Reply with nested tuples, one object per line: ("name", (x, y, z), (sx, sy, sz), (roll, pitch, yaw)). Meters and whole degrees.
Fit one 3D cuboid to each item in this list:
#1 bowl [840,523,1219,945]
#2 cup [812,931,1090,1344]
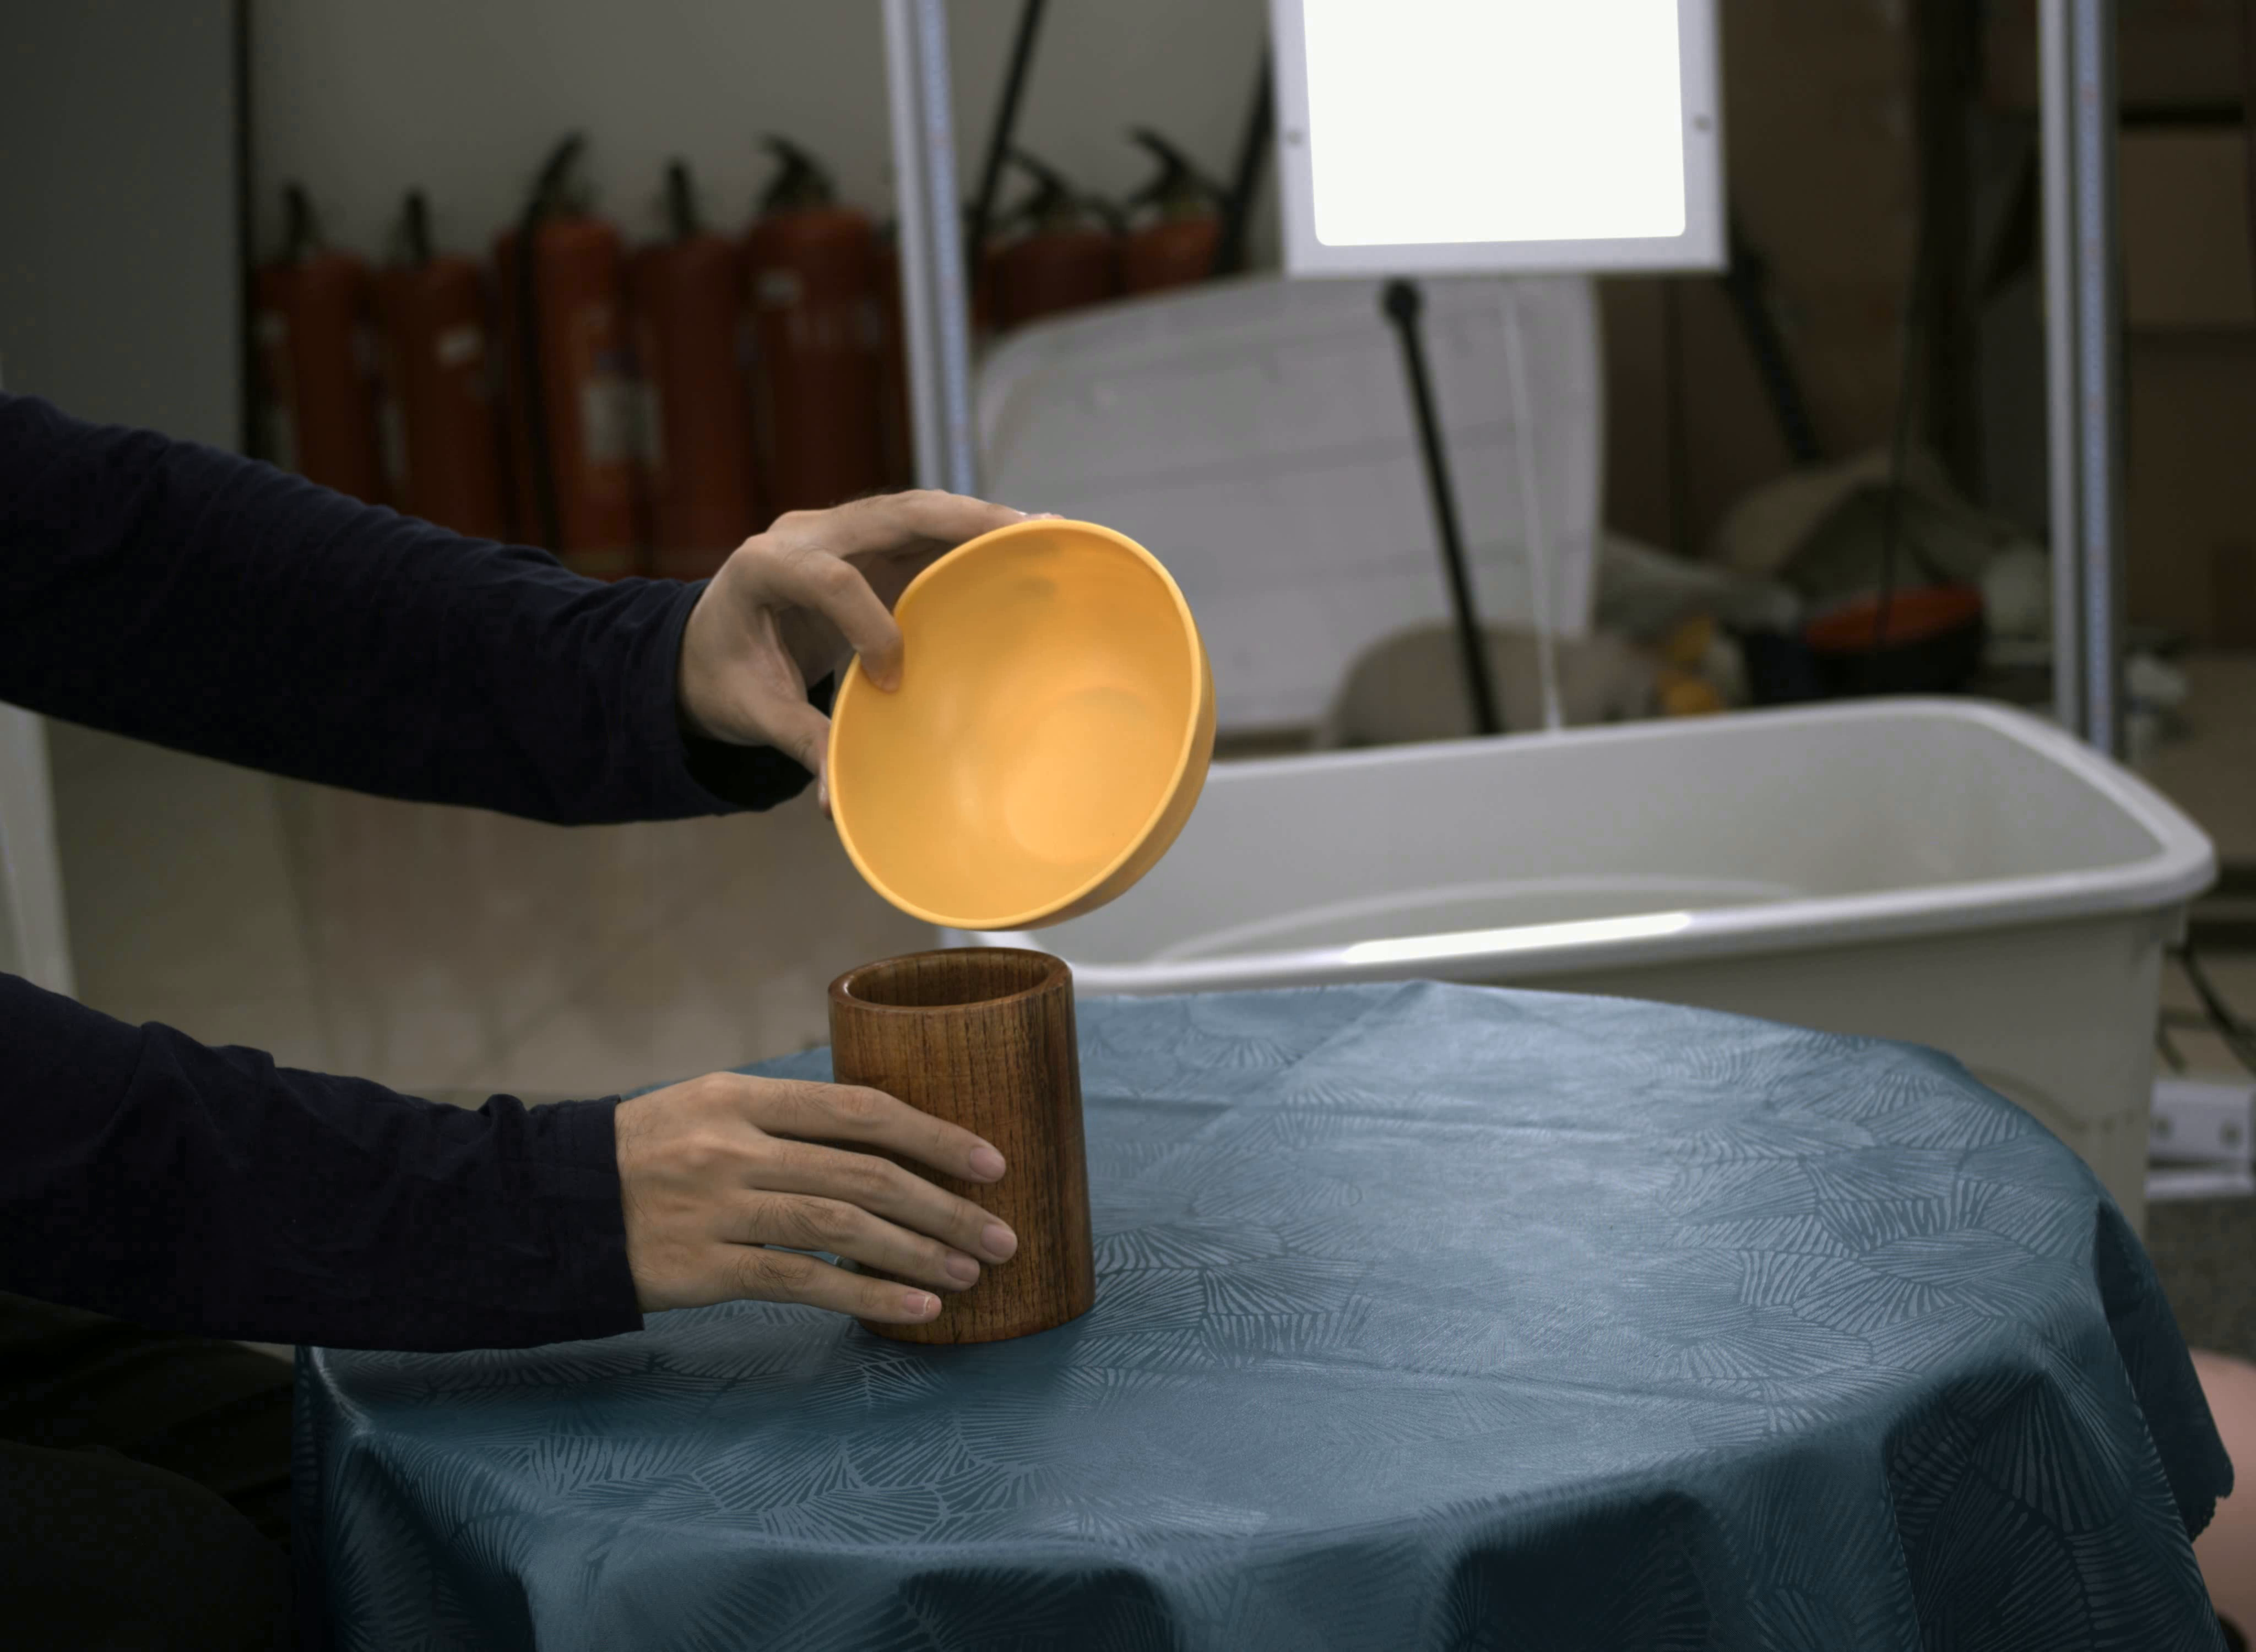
("bowl", (-0.022, -0.024, 1.834), (0.148, 0.145, 0.059), (6, -11, 37))
("cup", (-0.056, 0.100, 1.778), (0.087, 0.119, 0.087), (-4, 11, -1))
